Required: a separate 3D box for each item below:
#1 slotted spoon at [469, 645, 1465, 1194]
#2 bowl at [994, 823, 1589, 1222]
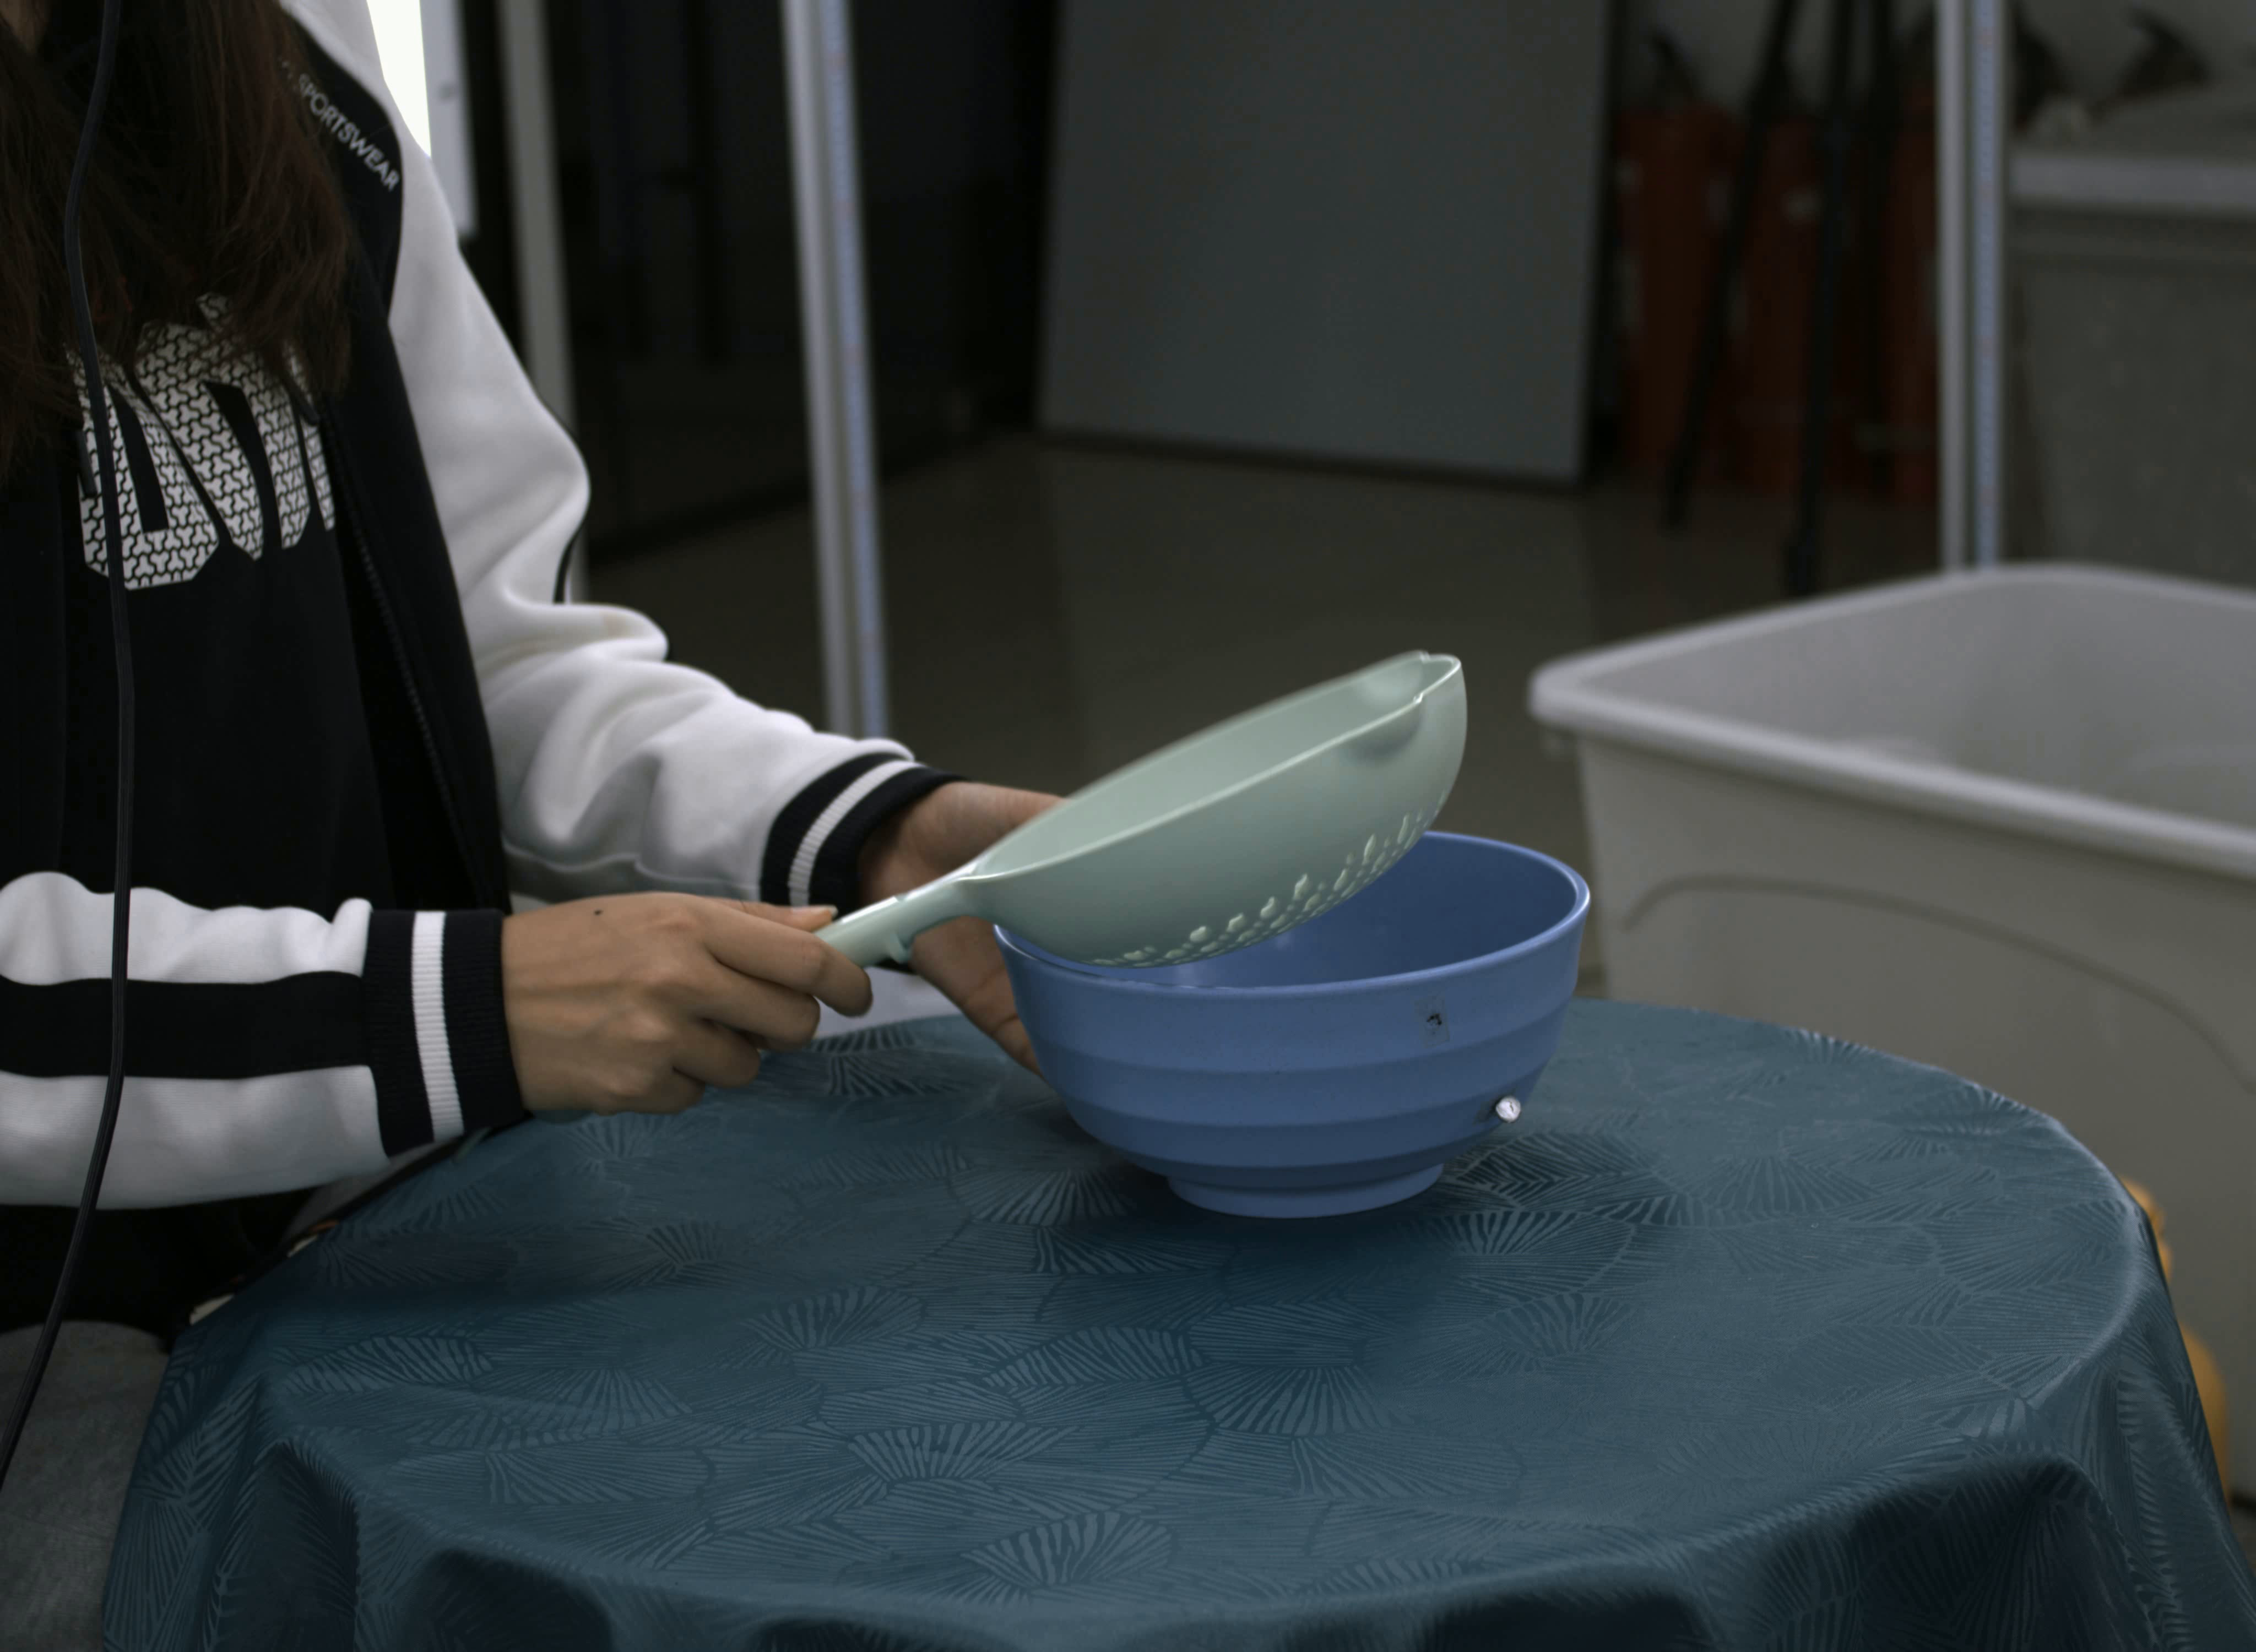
[{"bbox_3d":[-0.055,0.032,1.717,0.356,0.076,0.169,-17,4,8],"label":"slotted spoon"},{"bbox_3d":[0.056,0.070,1.762,0.194,0.096,0.197,-5,14,0],"label":"bowl"}]
